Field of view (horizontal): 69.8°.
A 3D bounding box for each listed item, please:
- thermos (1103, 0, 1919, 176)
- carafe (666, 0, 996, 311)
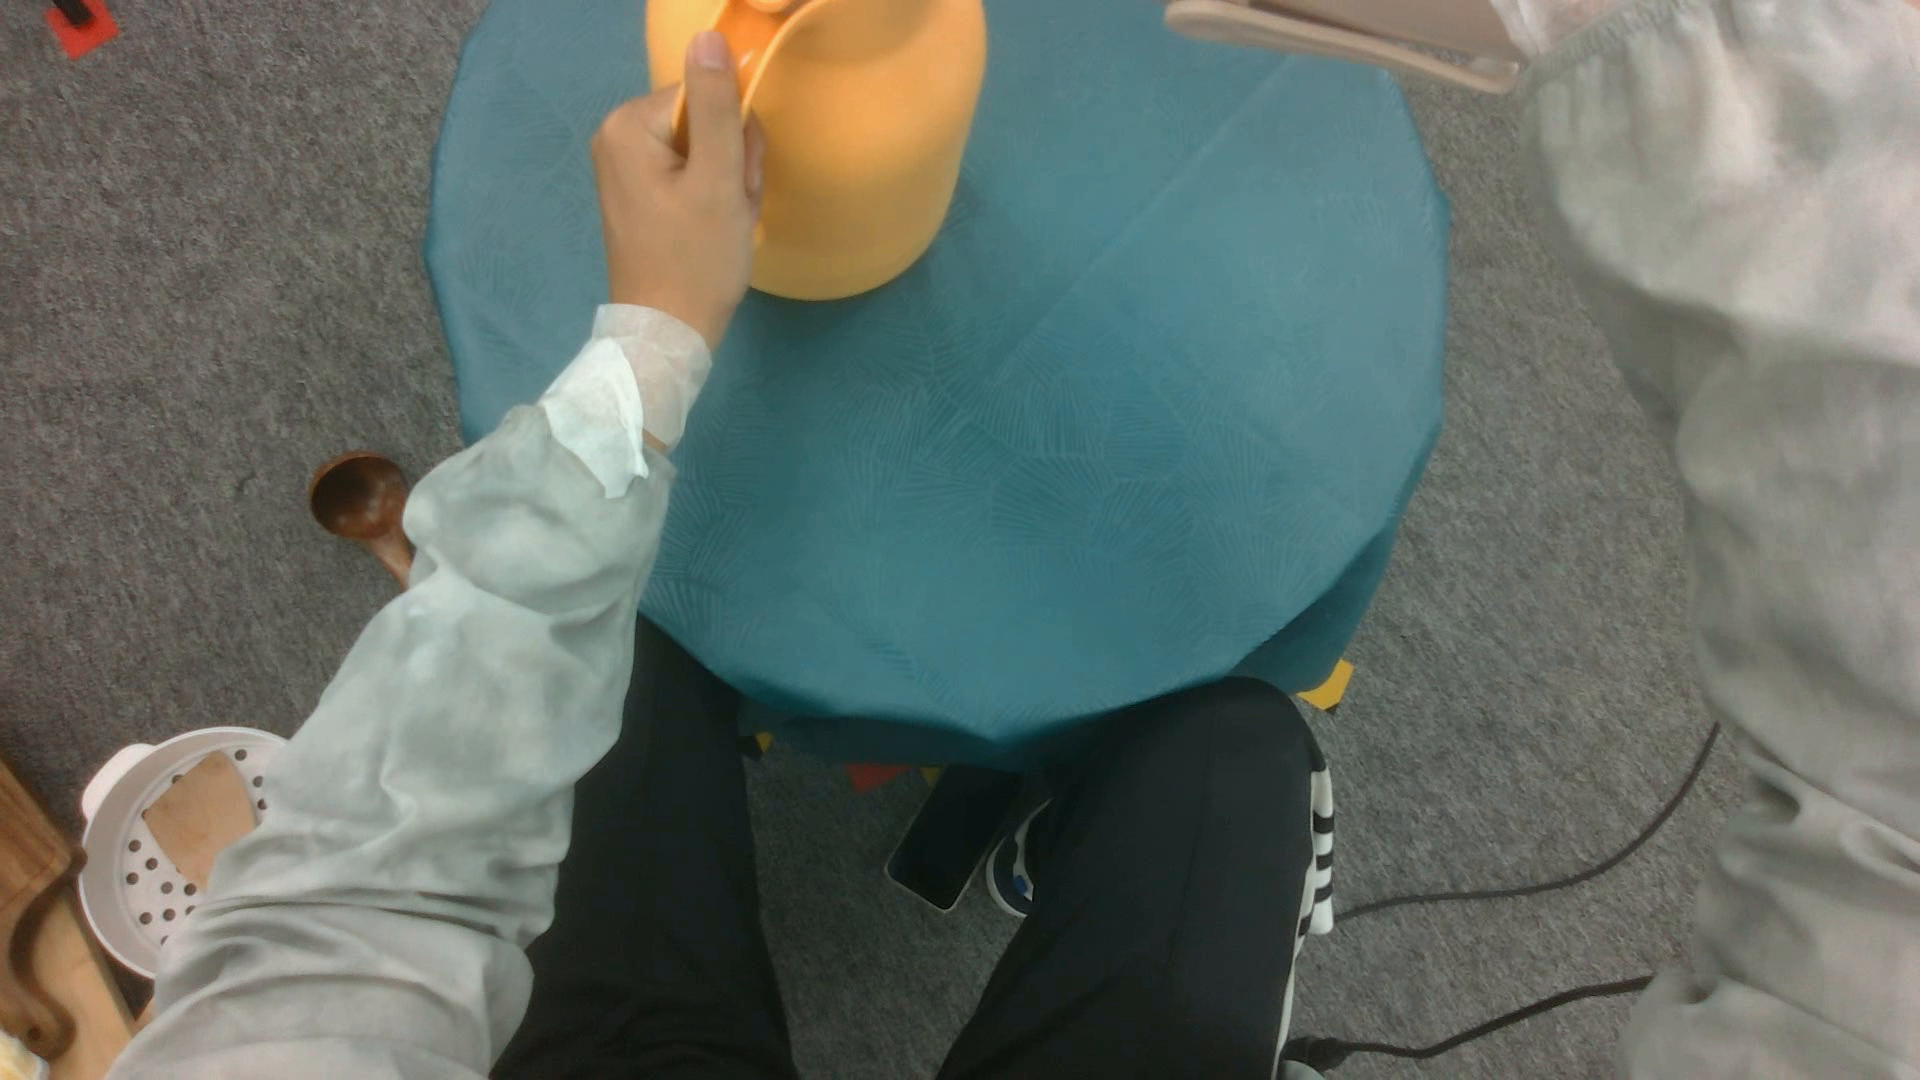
[{"bbox_3d":[0.170,-0.235,0.452,0.406,0.207,0.175,12,95,2],"label":"thermos"},{"bbox_3d":[-0.074,-0.217,0.680,0.163,0.259,0.203,28,72,2],"label":"carafe"}]
